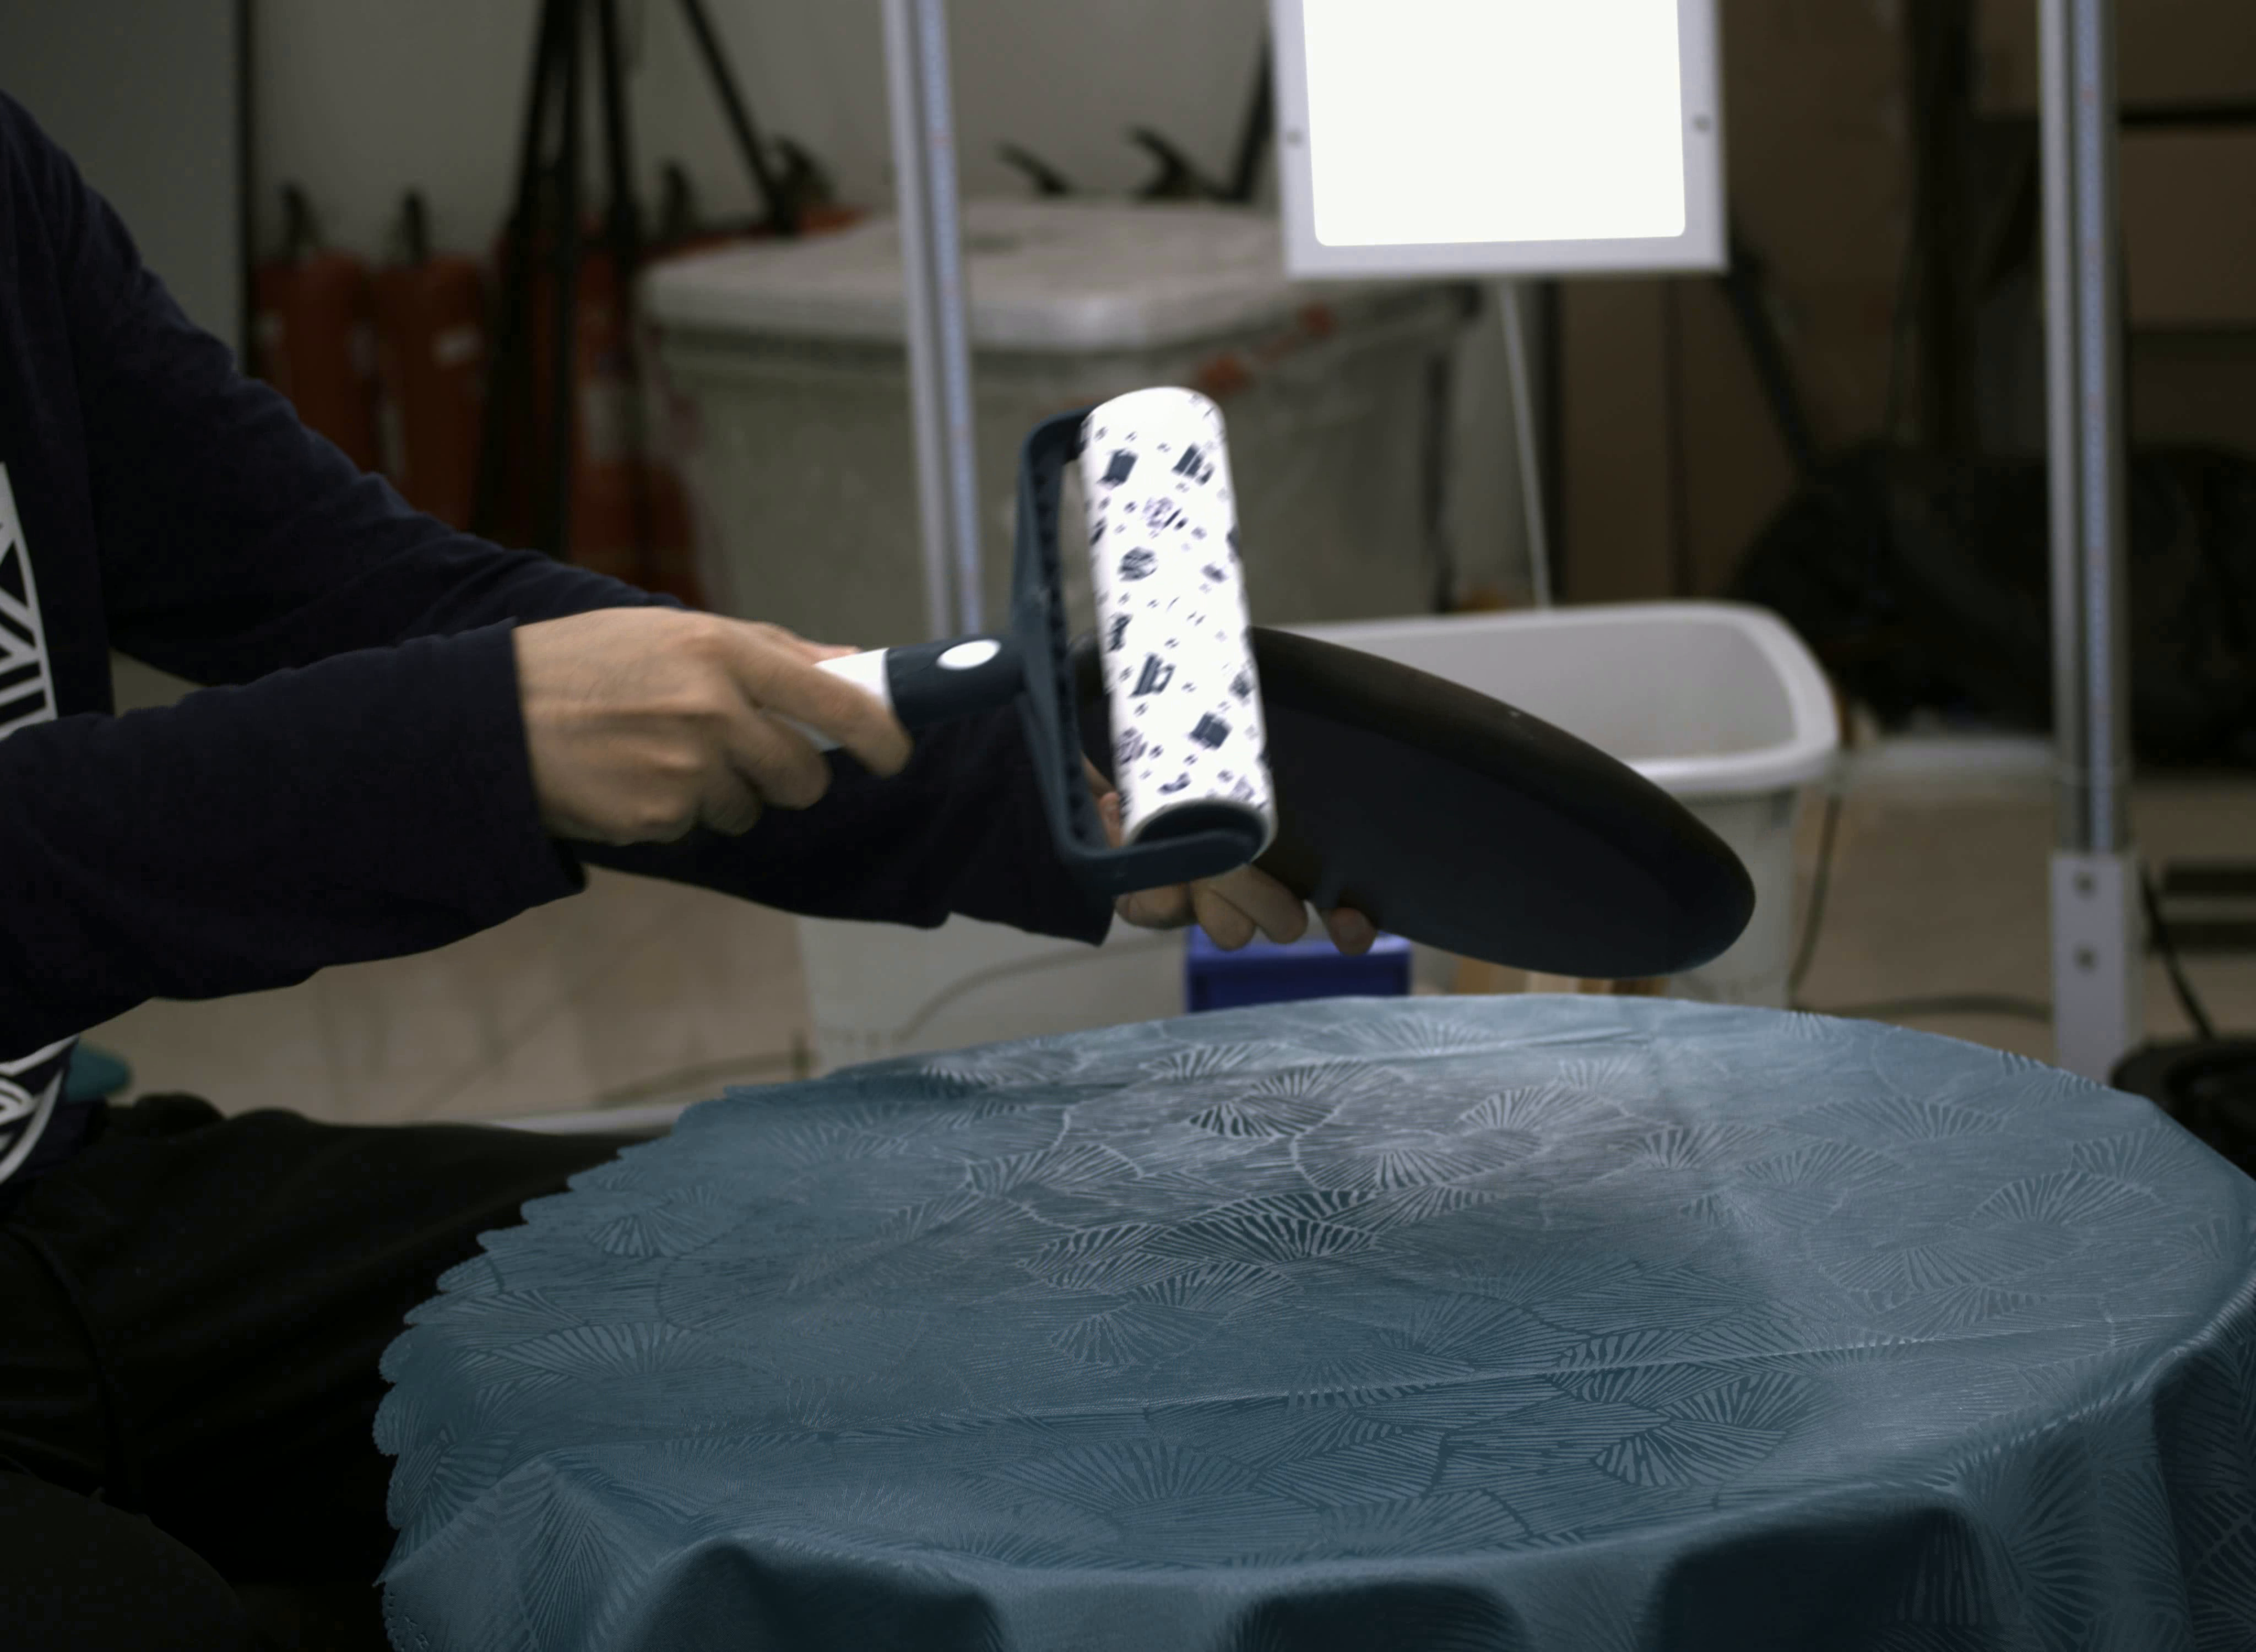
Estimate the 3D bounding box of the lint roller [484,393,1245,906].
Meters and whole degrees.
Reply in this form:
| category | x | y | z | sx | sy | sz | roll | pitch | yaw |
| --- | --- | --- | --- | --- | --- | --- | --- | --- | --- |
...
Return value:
| category | x | y | z | sx | sy | sz | roll | pitch | yaw |
| --- | --- | --- | --- | --- | --- | --- | --- | --- | --- |
| lint roller | -0.090 | -0.038 | 1.762 | 0.248 | 0.176 | 0.050 | -12 | -32 | 9 |

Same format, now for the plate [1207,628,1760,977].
| category | x | y | z | sx | sy | sz | roll | pitch | yaw |
| --- | --- | --- | --- | --- | --- | --- | --- | --- | --- |
| plate | 0.093 | -0.006 | 1.883 | 0.255 | 0.029 | 0.255 | 20 | -17 | 5 |
